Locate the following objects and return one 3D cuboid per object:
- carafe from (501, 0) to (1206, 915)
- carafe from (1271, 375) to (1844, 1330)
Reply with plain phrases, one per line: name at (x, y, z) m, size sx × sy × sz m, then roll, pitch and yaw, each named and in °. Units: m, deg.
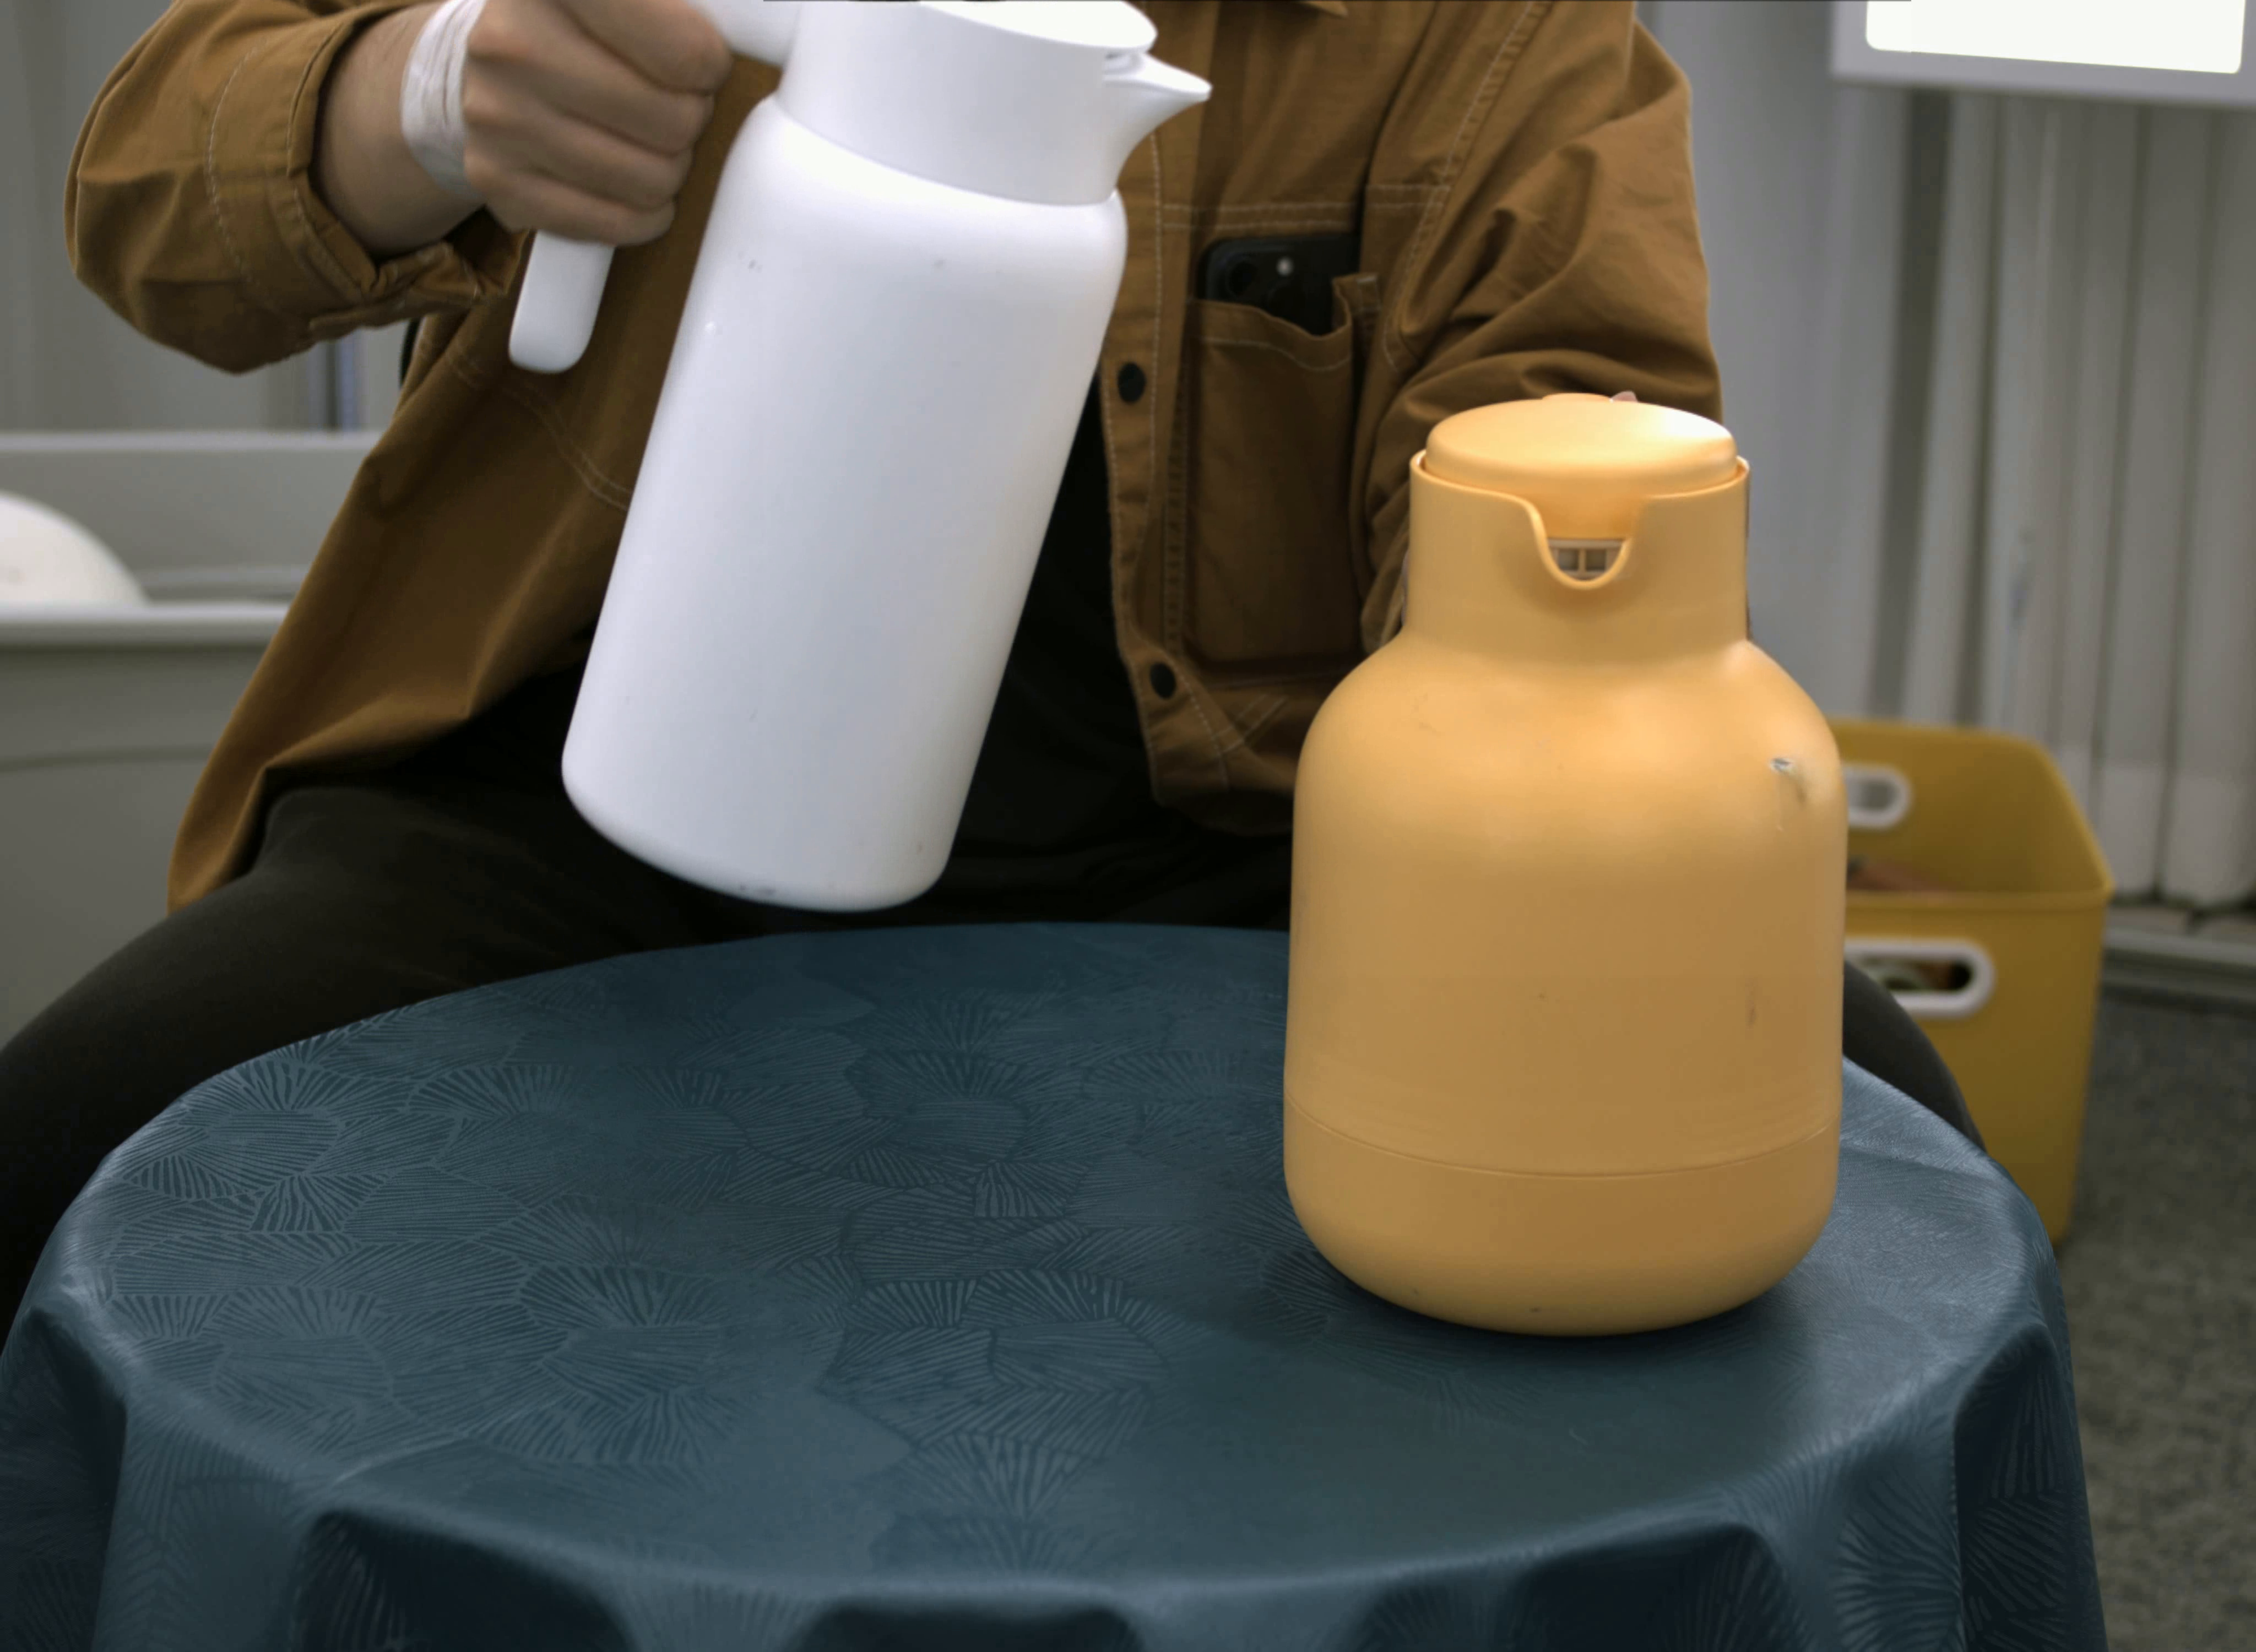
carafe at (-0.094, -0.121, 1.496) m, size 0.172 × 0.271 × 0.123 m, roll 18°, pitch 21°, yaw 4°
carafe at (0.129, -0.001, 1.538) m, size 0.162 × 0.262 × 0.201 m, roll 5°, pitch 18°, yaw 4°
